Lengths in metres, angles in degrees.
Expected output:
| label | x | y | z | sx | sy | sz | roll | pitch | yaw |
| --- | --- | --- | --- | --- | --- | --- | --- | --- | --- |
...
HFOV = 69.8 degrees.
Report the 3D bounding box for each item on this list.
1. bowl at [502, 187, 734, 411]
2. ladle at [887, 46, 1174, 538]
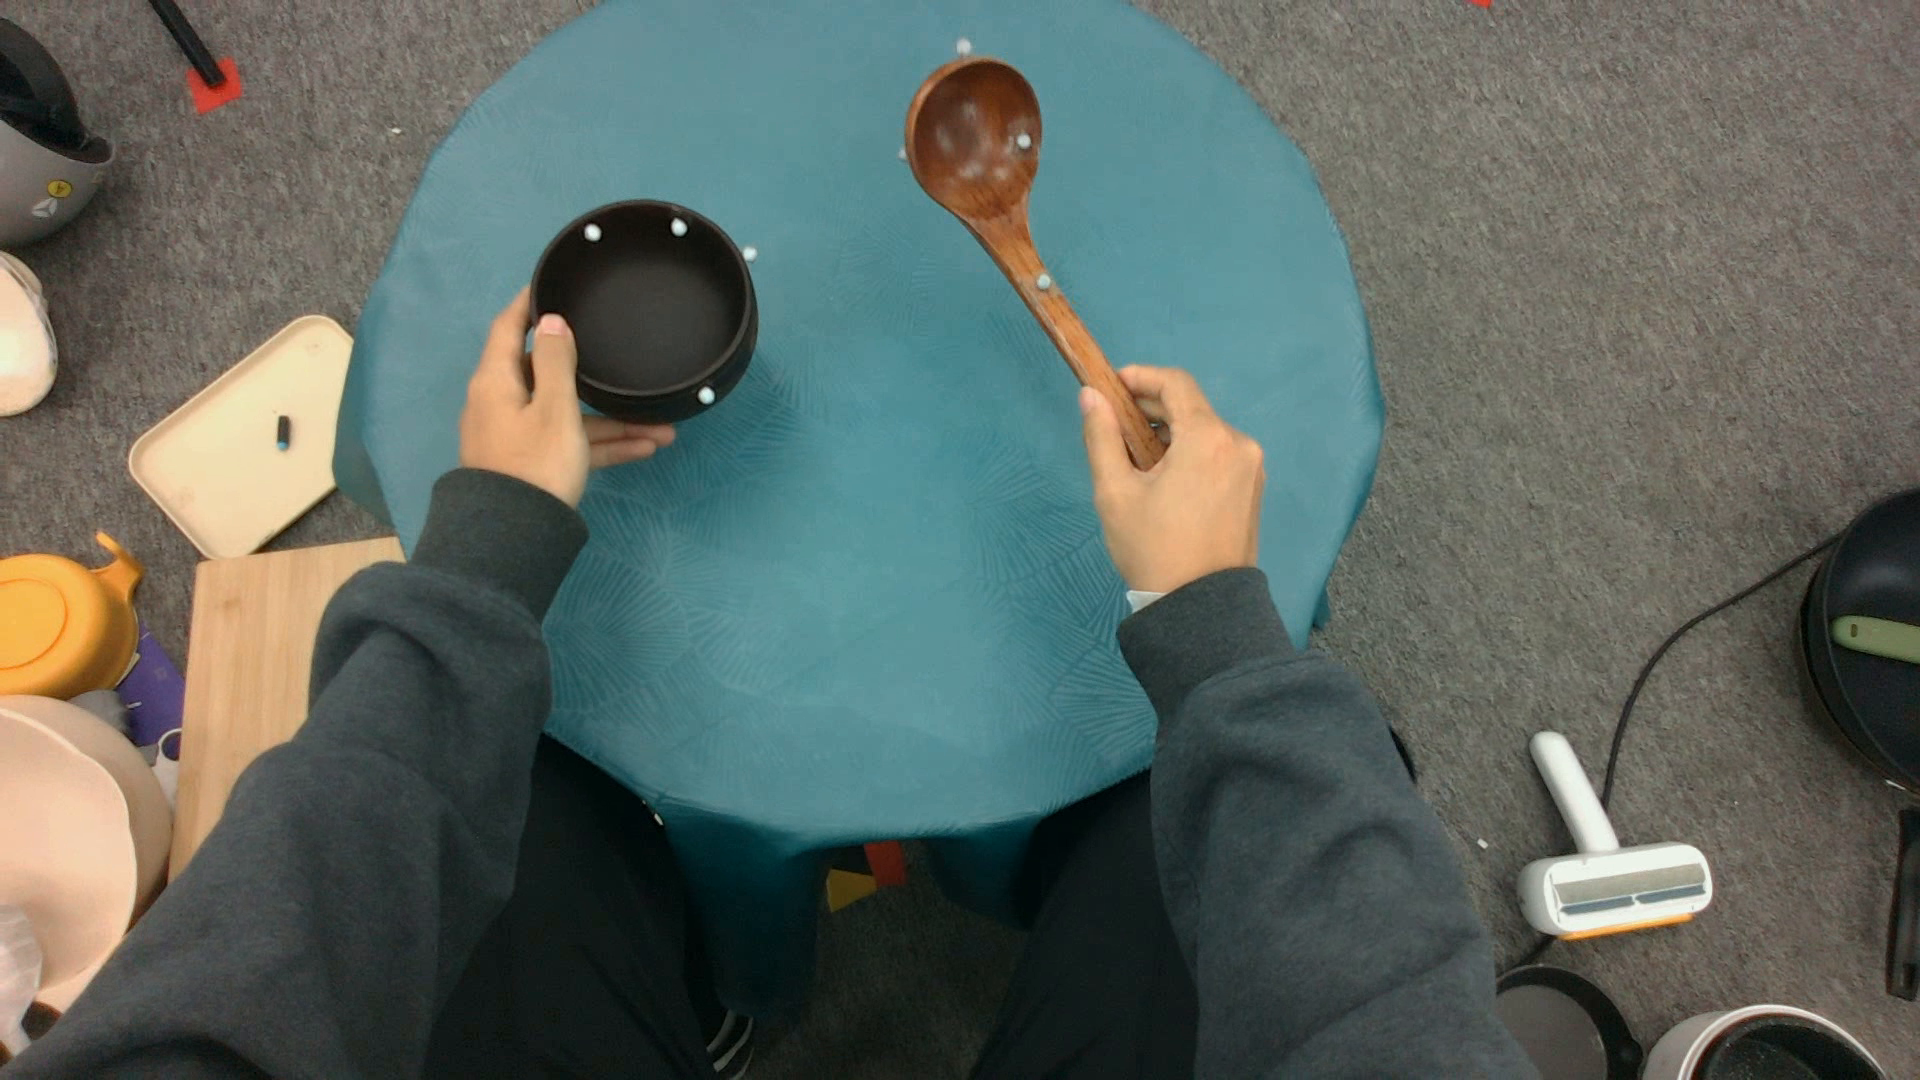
| label | x | y | z | sx | sy | sz | roll | pitch | yaw |
| --- | --- | --- | --- | --- | --- | --- | --- | --- | --- |
| bowl | -0.181 | -0.123 | 0.744 | 0.118 | 0.069 | 0.118 | 2 | 70 | -5 |
| ladle | 0.046 | -0.133 | 0.704 | 0.082 | 0.076 | 0.274 | -23 | 71 | -16 |
